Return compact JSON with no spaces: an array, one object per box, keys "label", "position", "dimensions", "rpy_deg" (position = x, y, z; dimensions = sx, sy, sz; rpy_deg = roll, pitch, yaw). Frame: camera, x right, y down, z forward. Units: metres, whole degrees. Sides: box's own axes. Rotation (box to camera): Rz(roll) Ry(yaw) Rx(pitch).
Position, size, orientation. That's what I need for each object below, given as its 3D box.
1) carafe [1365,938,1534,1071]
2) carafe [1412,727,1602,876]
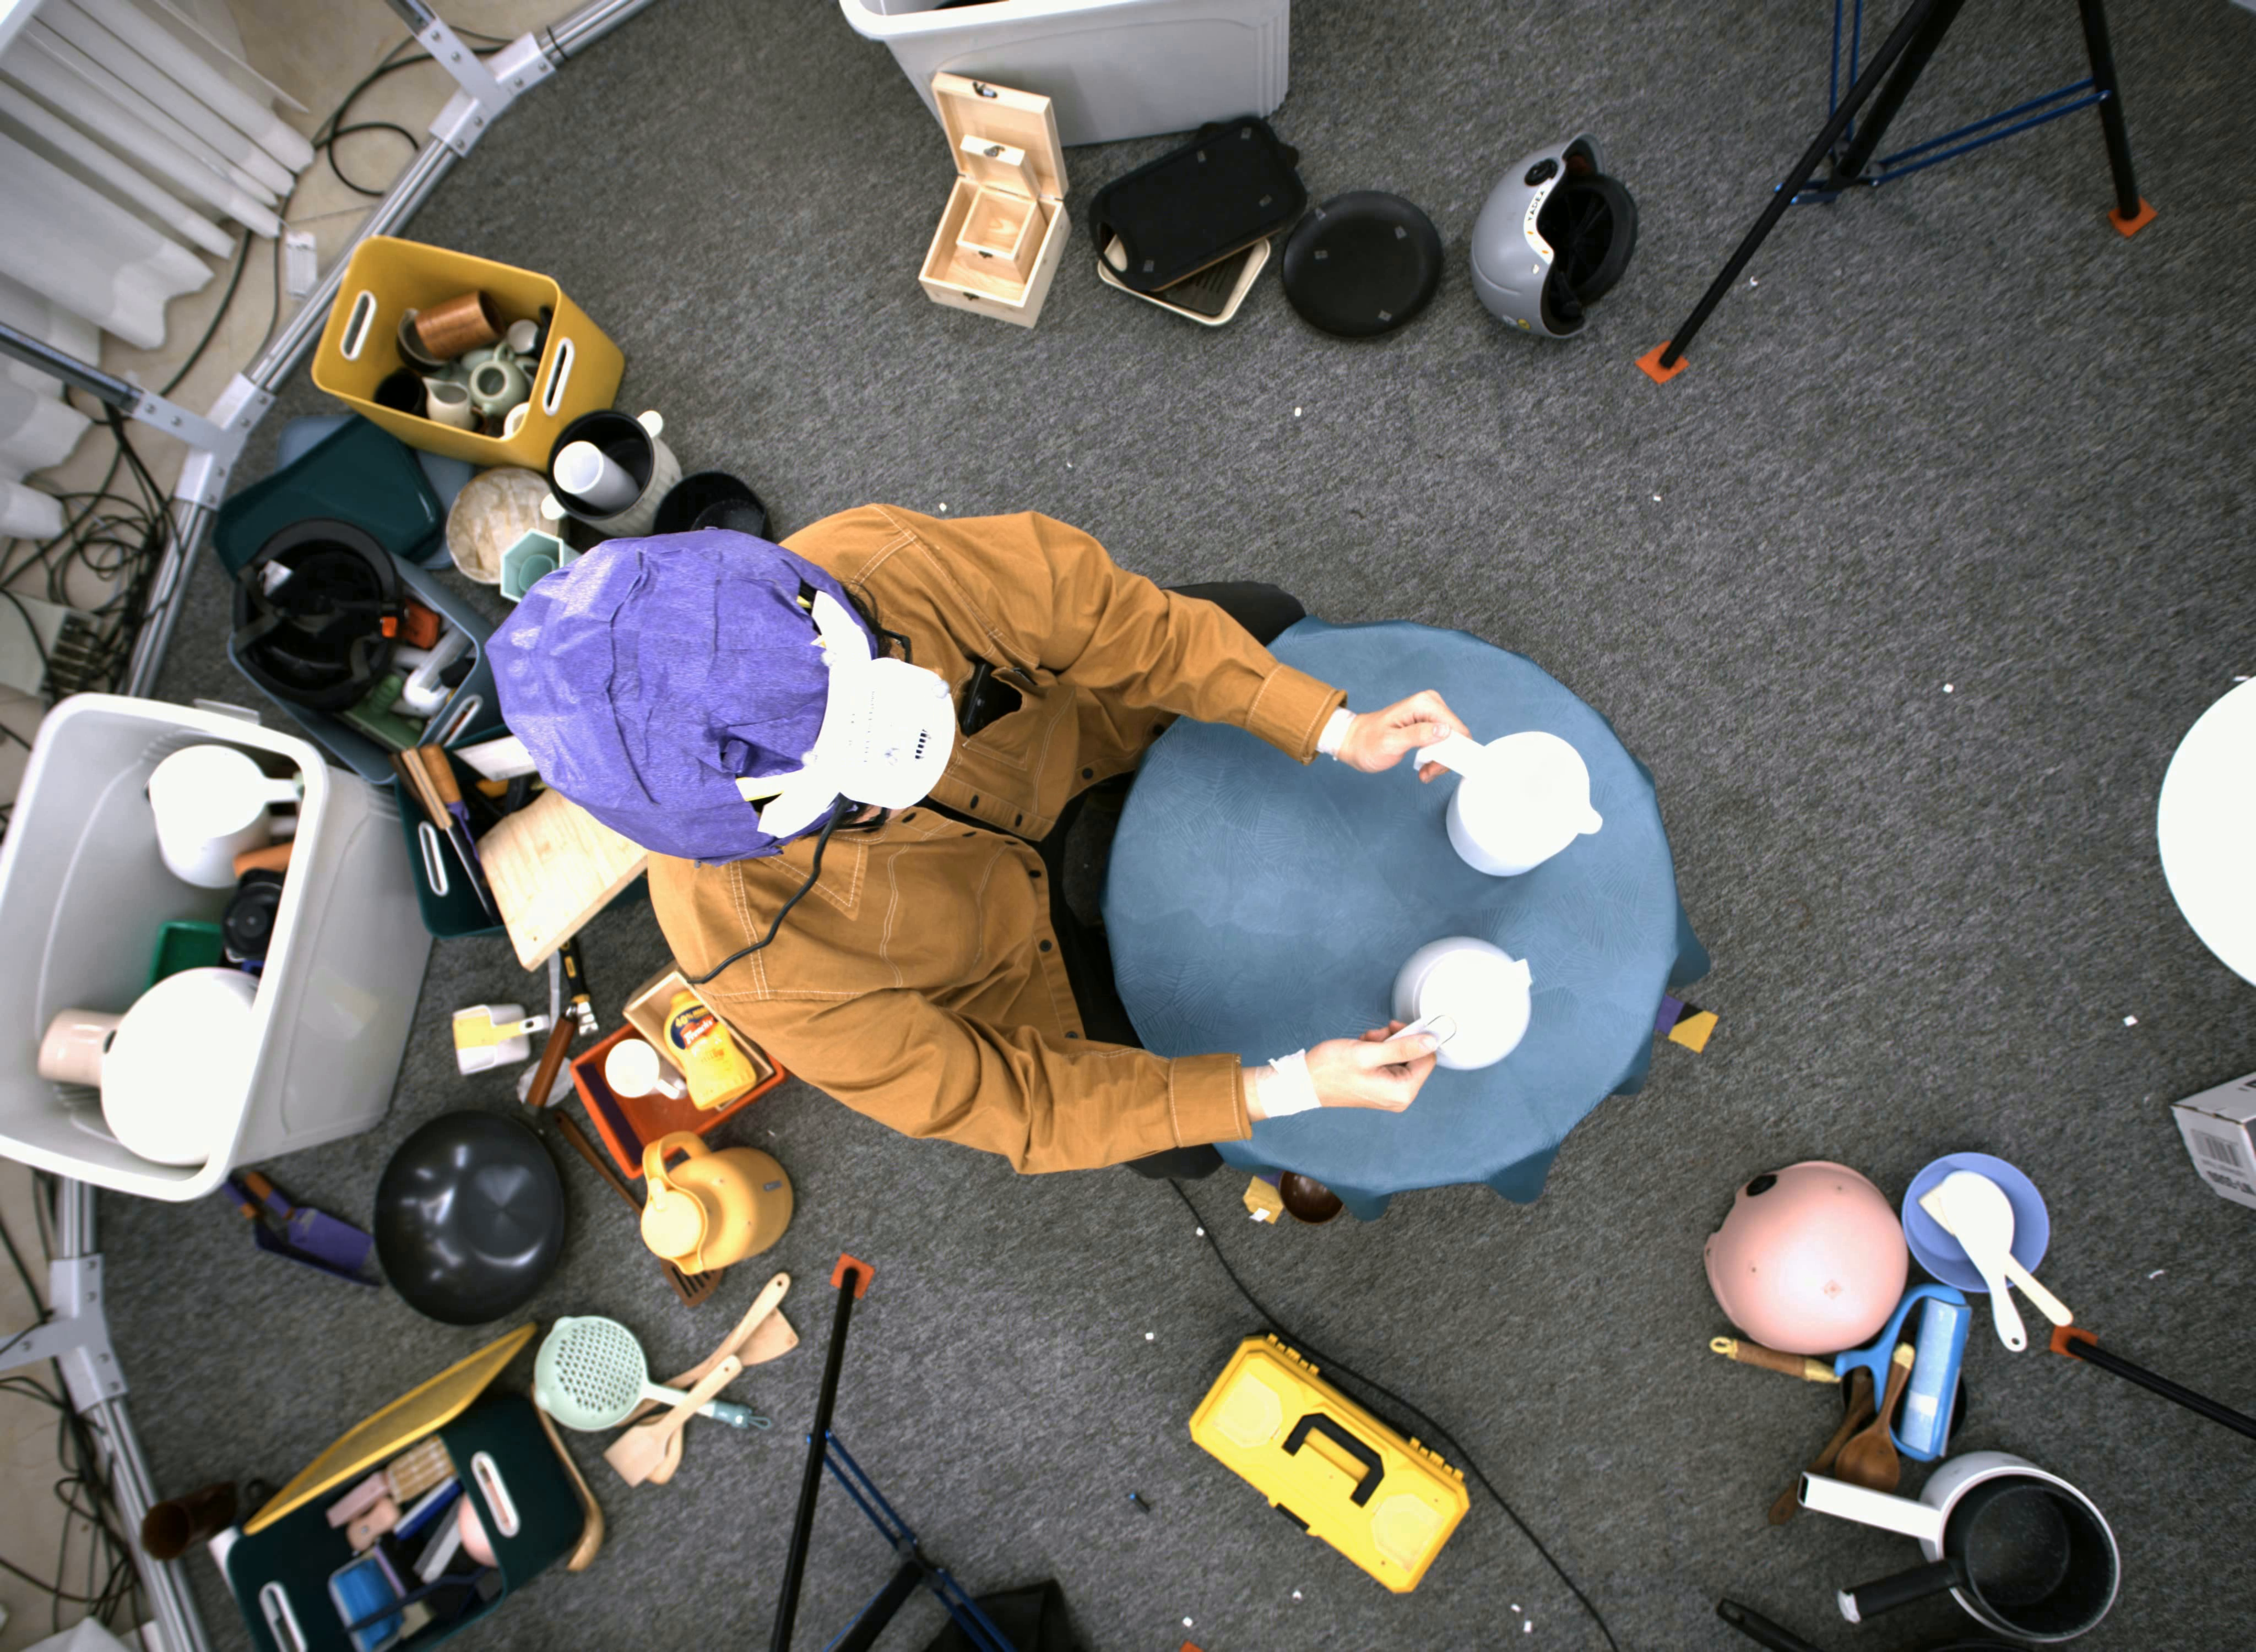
[{"label":"carafe","position":[0.305,0.180,1.323],"dimensions":[0.169,0.249,0.131],"rpy_deg":[-33,79,7]},{"label":"carafe","position":[0.354,-0.027,1.314],"dimensions":[0.172,0.268,0.124],"rpy_deg":[29,92,12]}]
